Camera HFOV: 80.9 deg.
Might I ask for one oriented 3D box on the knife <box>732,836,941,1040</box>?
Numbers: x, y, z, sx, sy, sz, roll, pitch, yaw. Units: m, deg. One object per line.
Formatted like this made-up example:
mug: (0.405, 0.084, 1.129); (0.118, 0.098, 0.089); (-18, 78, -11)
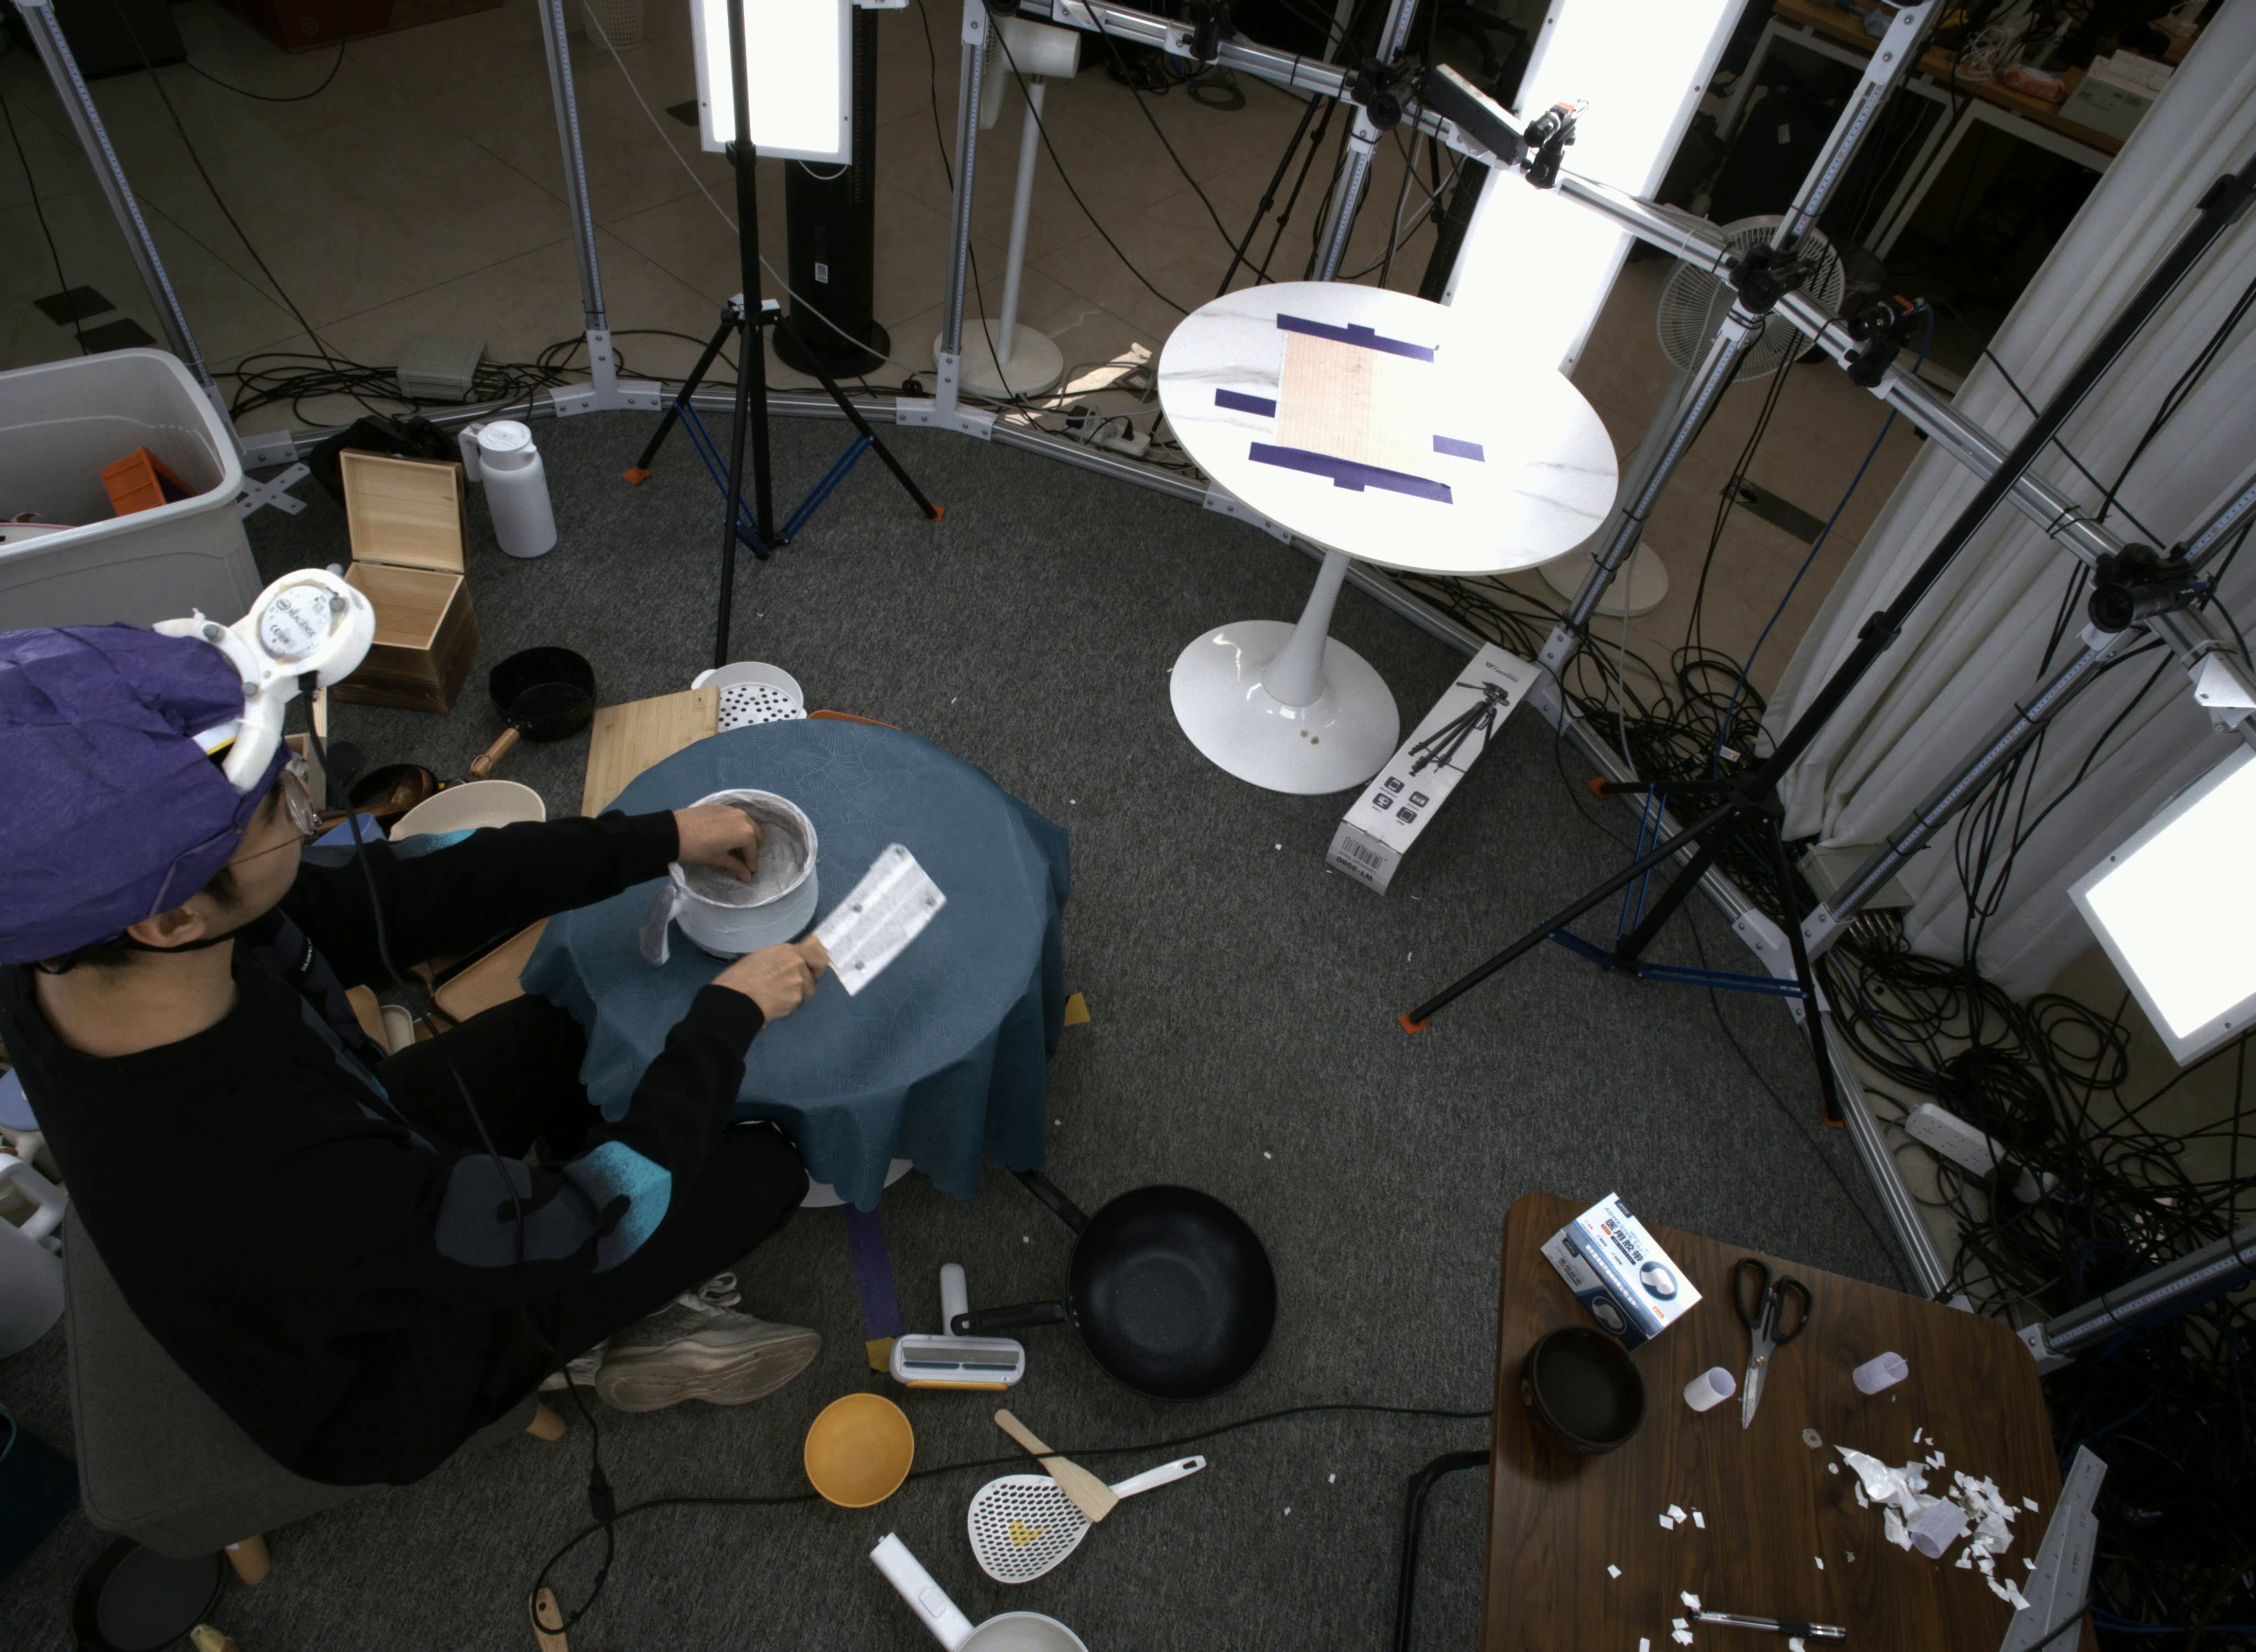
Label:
knife: (-0.322, 0.125, 1.444); (0.315, 0.021, 0.117); (-46, 115, -44)

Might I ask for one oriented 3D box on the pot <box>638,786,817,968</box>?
pot: (-0.486, 0.074, 1.551); (0.175, 0.139, 0.234); (39, 53, 18)
